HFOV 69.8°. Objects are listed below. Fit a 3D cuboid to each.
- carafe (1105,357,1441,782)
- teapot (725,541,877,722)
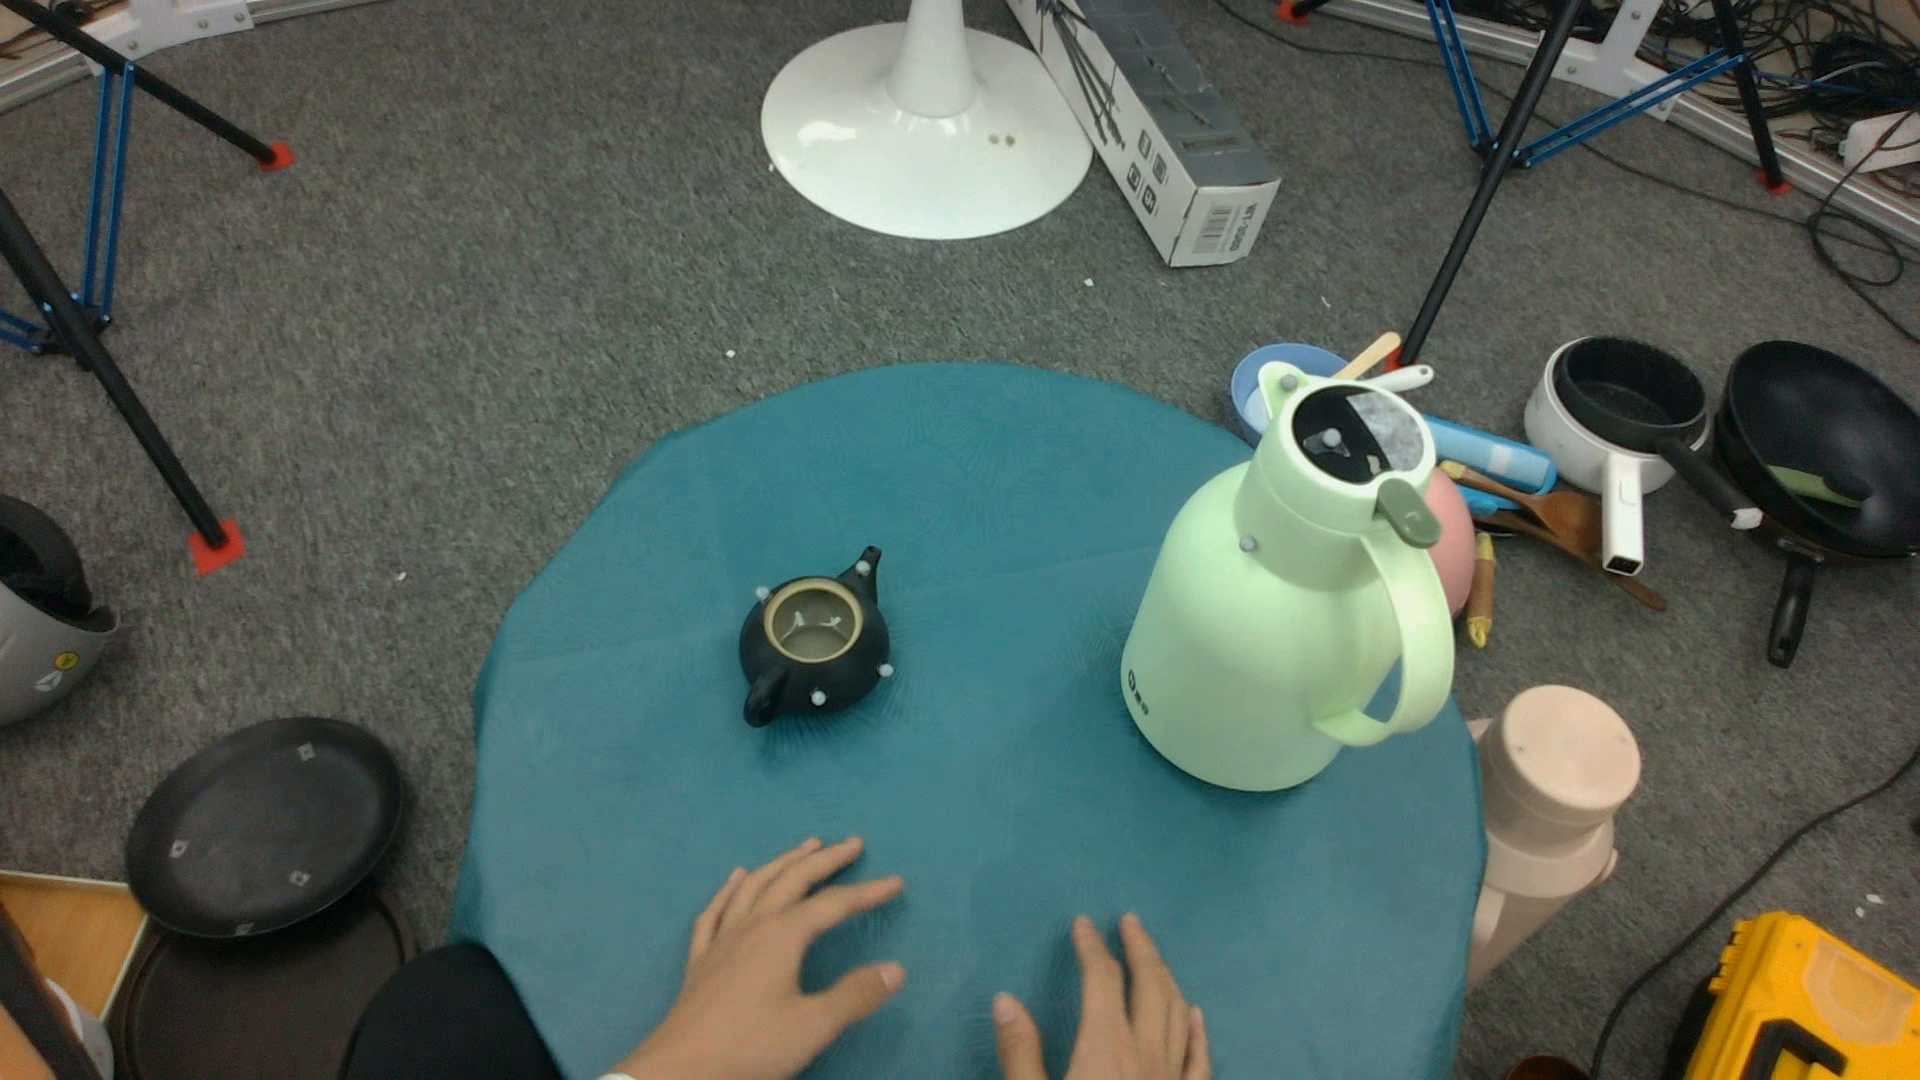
[{"bbox_3d":[0.179,0.031,0.757,0.144,0.255,0.187,-15,60,-18],"label":"carafe"},{"bbox_3d":[-0.096,0.059,0.825,0.091,0.053,0.134,27,55,15],"label":"teapot"}]
